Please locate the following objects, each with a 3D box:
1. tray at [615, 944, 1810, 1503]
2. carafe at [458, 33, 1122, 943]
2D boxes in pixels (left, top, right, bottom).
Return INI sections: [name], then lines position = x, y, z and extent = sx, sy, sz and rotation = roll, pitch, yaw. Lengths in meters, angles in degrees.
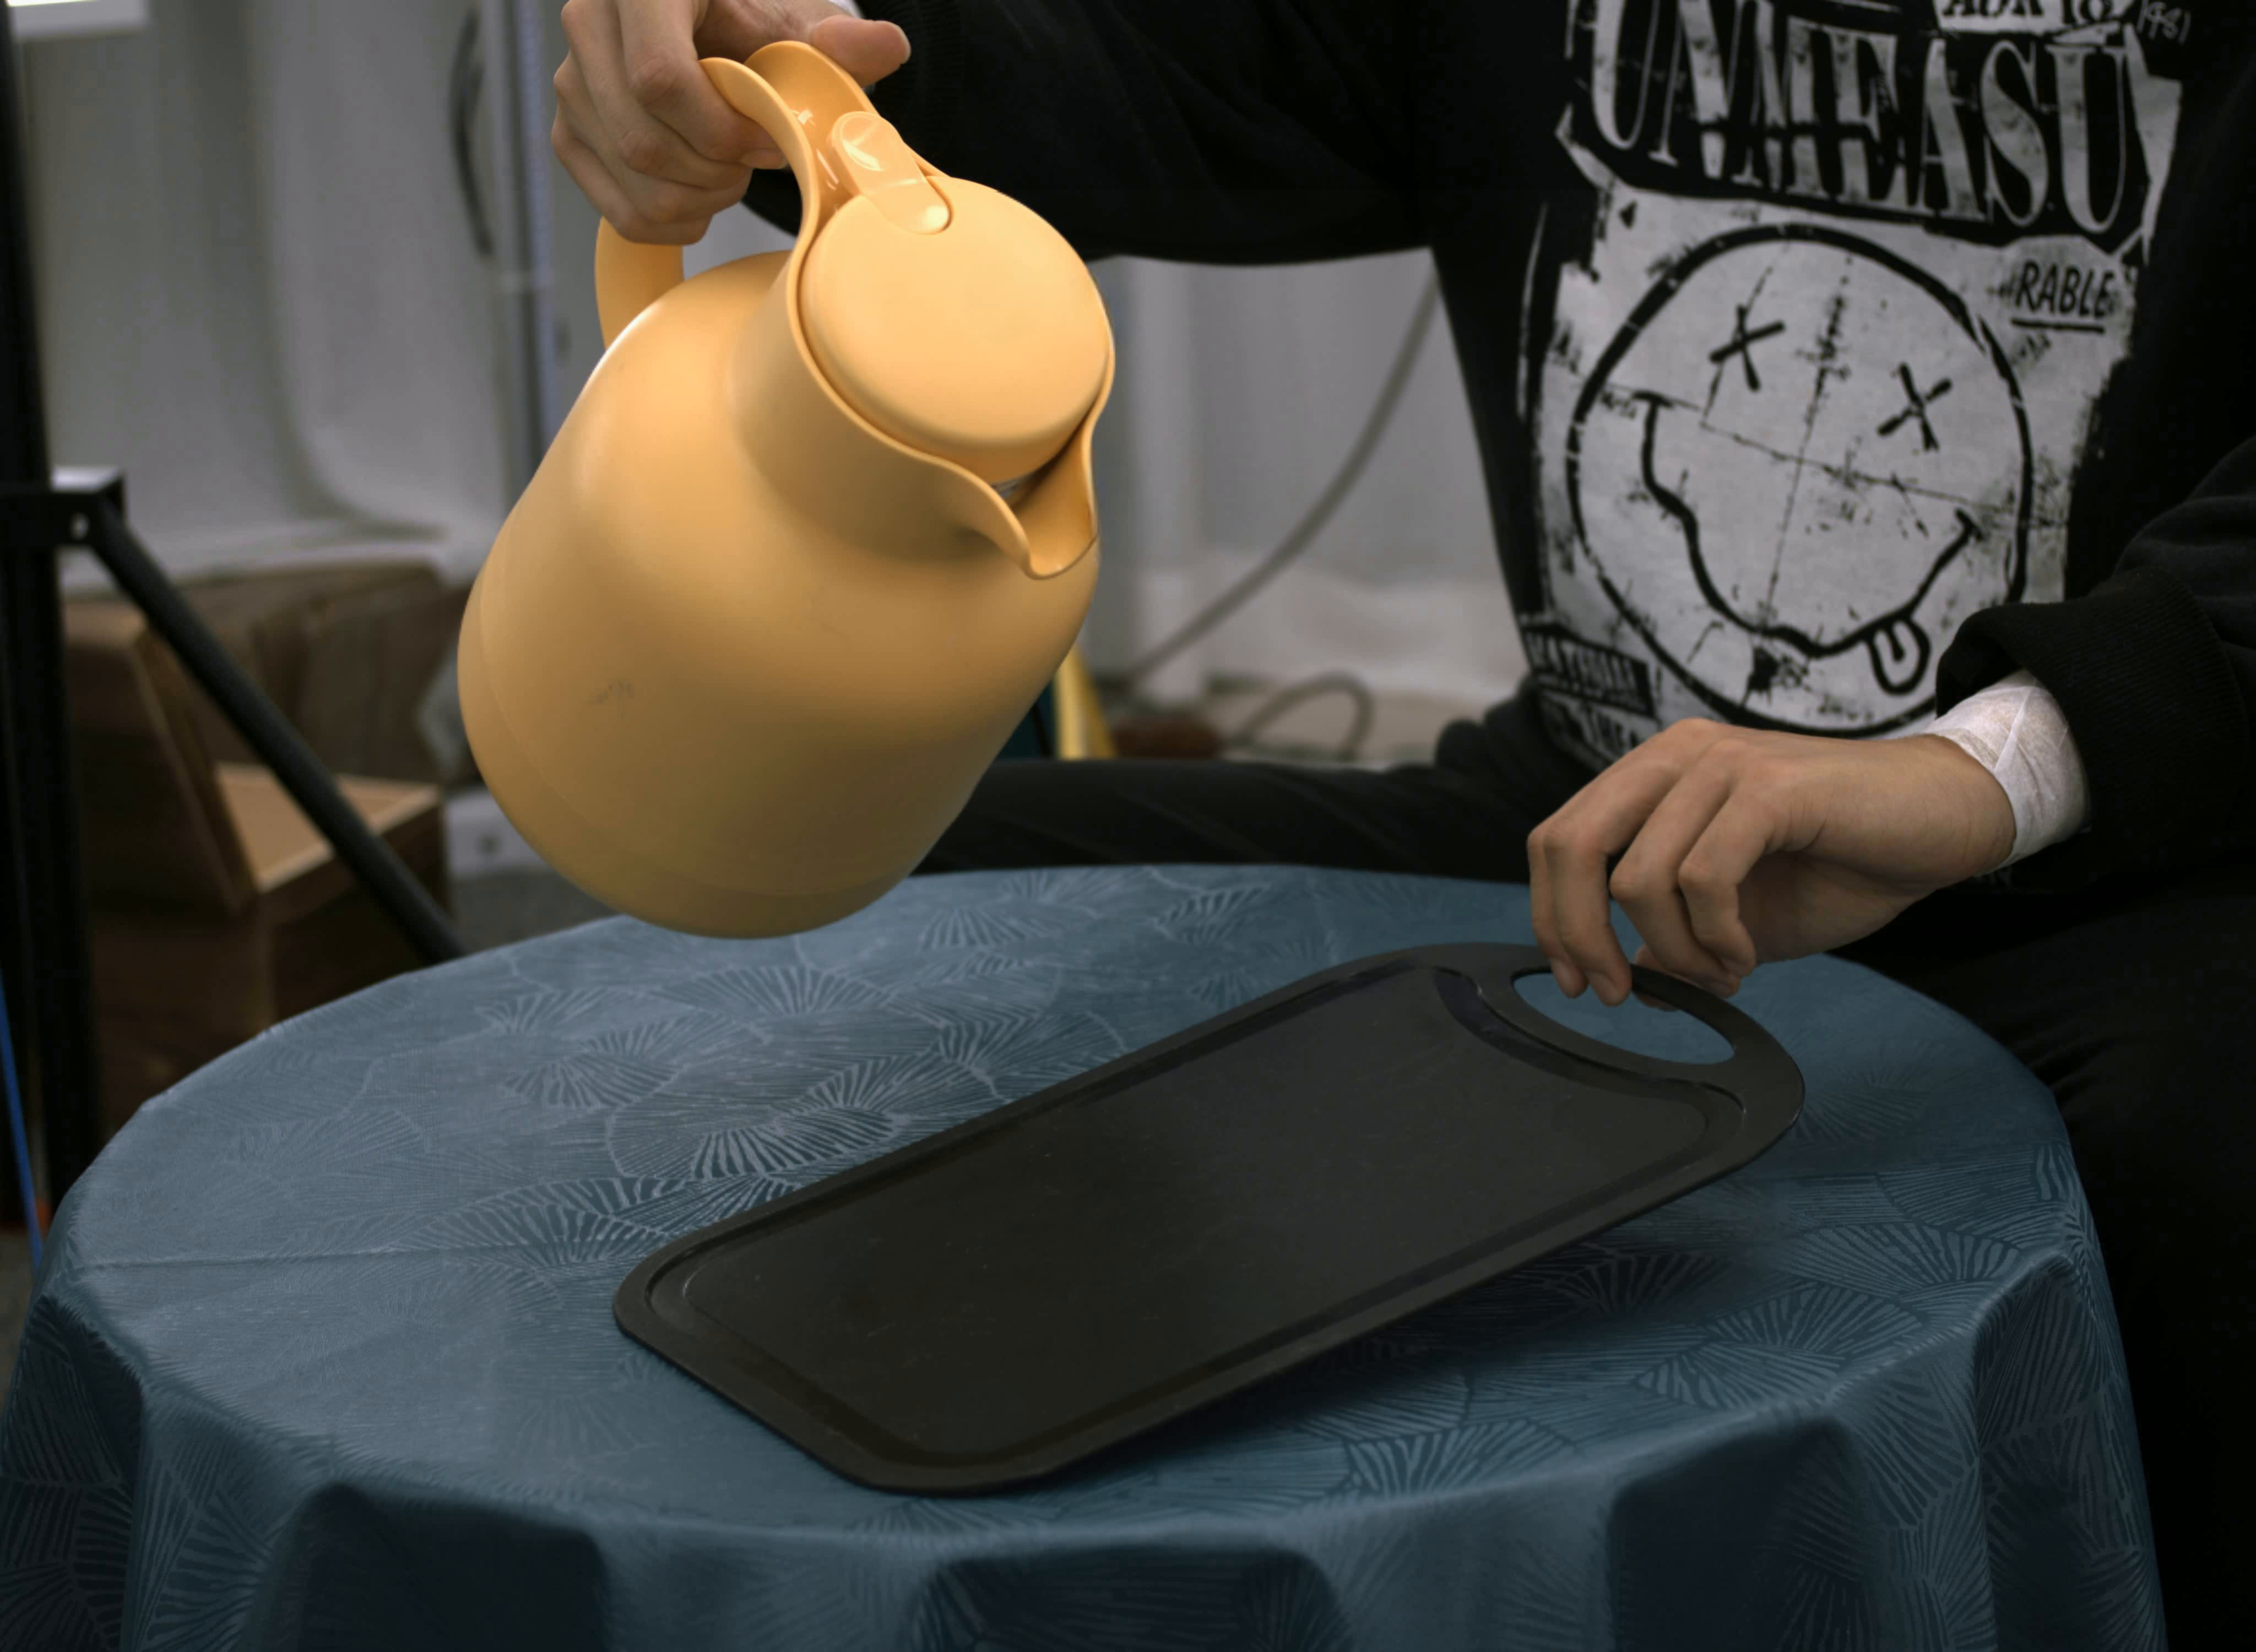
[tray]
position = 0.029, 0.100, 1.474
extent = 0.320, 0.010, 0.216
rotation = -21, 23, -24
[carafe]
position = -0.097, -0.102, 1.560
extent = 0.160, 0.205, 0.262
rotation = -15, -21, -32
